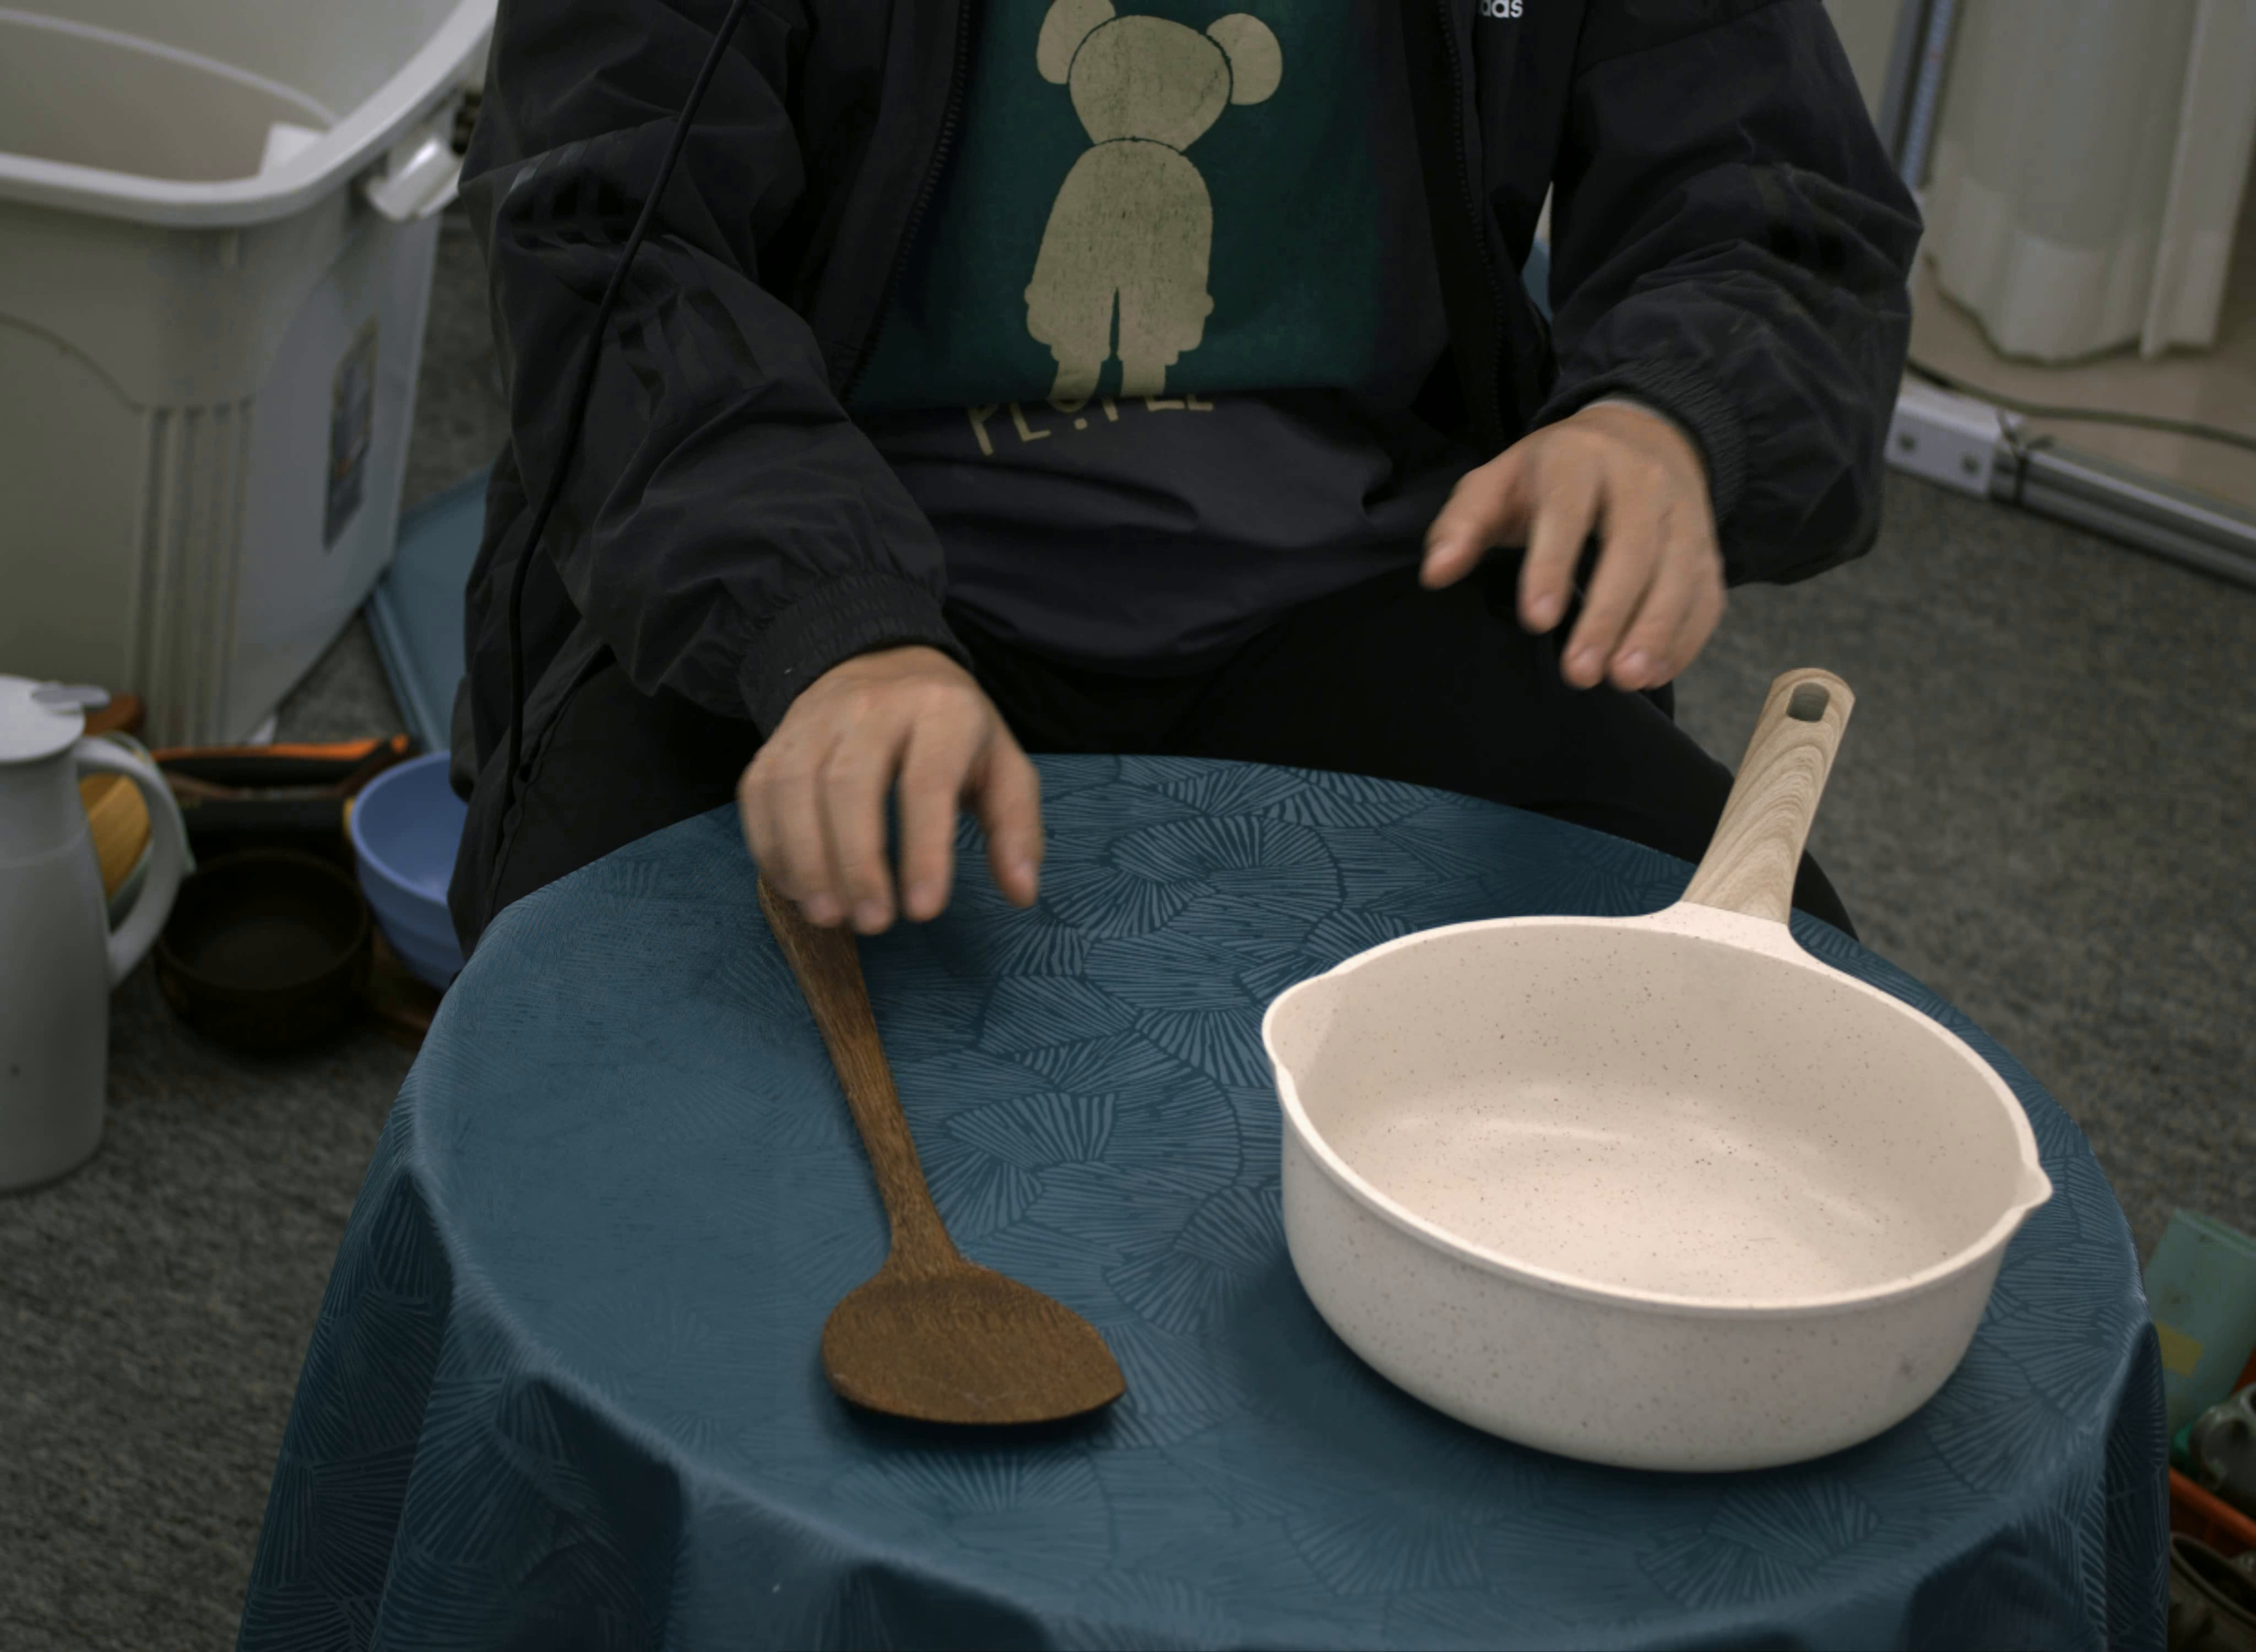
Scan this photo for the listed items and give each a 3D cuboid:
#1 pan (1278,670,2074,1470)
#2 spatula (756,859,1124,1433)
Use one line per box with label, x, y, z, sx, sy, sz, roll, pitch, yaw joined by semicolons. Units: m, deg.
pan;0.199;0.078;1.826;0.263;0.101;0.436;11;28;12
spatula;-0.085;0.100;1.817;0.095;0.016;0.389;0;27;-14
